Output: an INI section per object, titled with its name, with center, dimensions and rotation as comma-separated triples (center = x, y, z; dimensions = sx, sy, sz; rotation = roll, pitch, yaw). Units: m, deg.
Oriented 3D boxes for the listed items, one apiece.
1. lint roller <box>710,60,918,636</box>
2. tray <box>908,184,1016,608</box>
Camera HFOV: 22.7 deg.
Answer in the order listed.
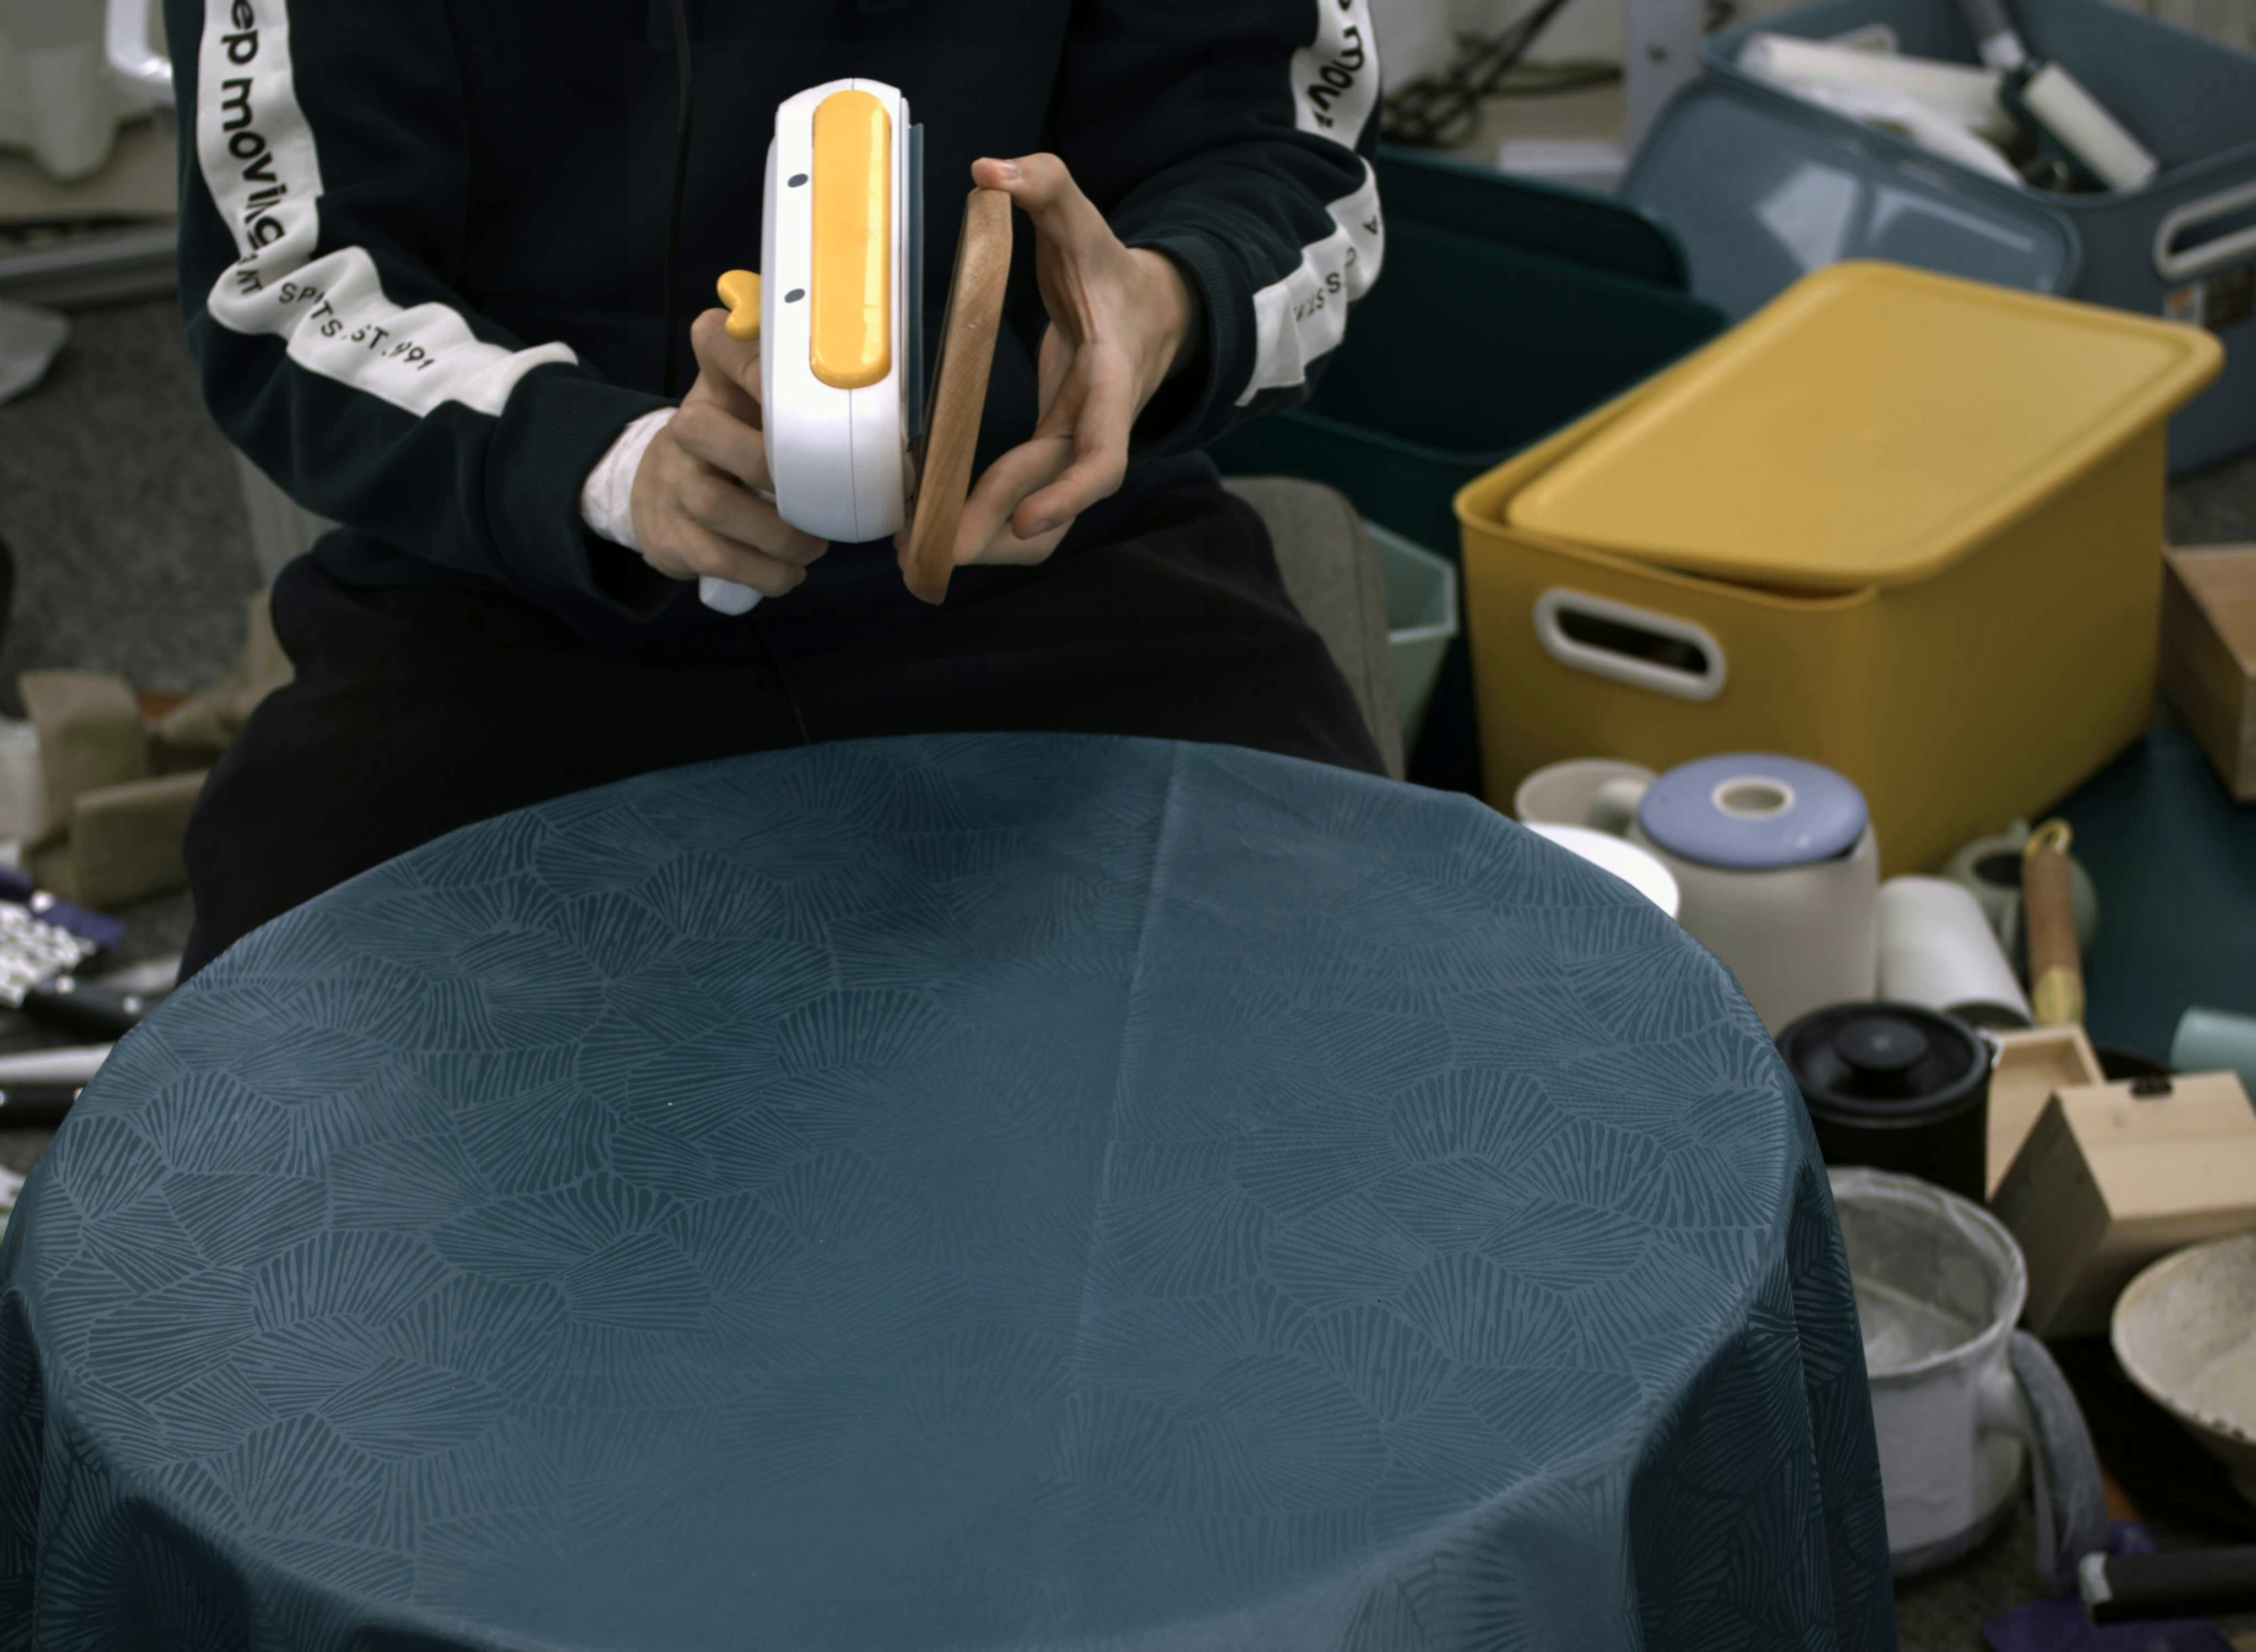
[lint roller]
center = -0.113, -0.146, 1.994
dimensions = 0.074, 0.189, 0.196
rotation = 0, 44, -9
[tray]
center = -0.058, -0.154, 1.968
dimensions = 0.023, 0.130, 0.252
rotation = 13, 9, -5
